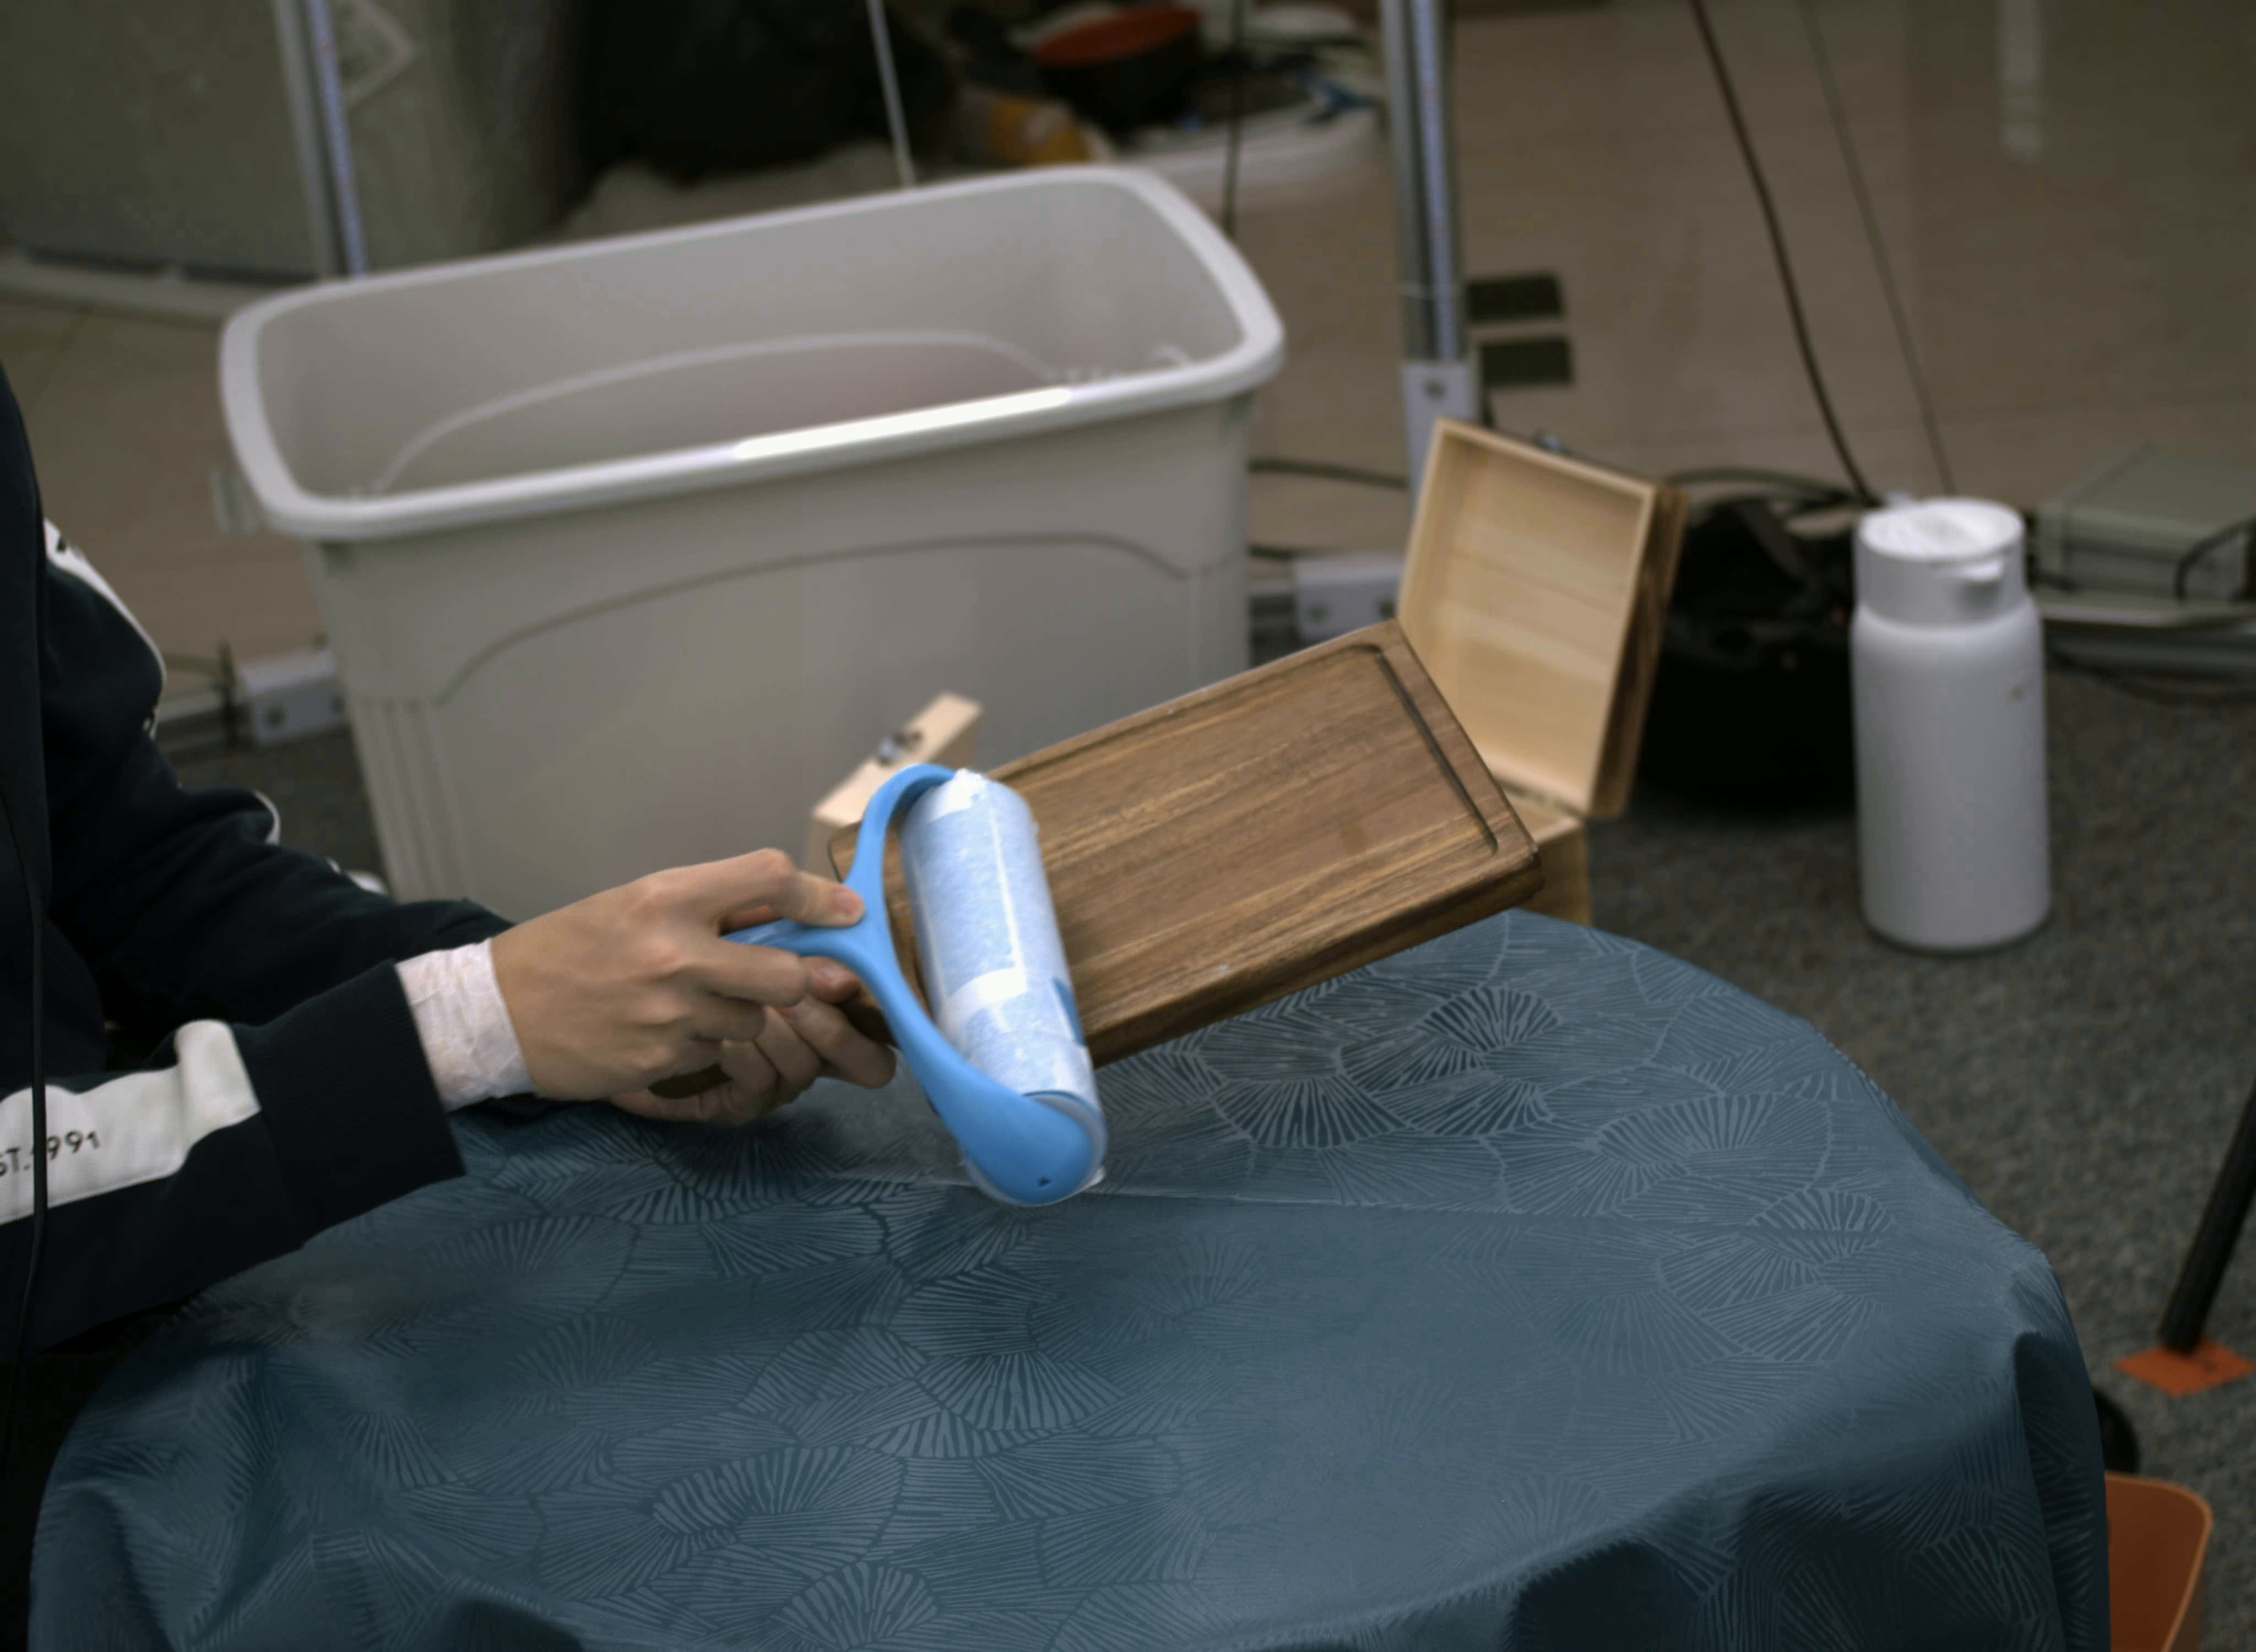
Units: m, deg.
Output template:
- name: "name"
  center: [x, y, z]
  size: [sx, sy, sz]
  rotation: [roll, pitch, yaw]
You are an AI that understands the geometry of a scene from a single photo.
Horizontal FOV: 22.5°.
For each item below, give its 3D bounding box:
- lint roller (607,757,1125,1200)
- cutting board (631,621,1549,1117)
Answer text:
- name: "lint roller"
  center: [-0.102, 0.058, 2.102]
  size: [0.180, 0.069, 0.225]
  rotation: [-2, 40, -14]
- name: "cutting board"
  center: [-0.028, 0.030, 2.208]
  size: [0.351, 0.023, 0.198]
  rotation: [-22, 33, -4]
